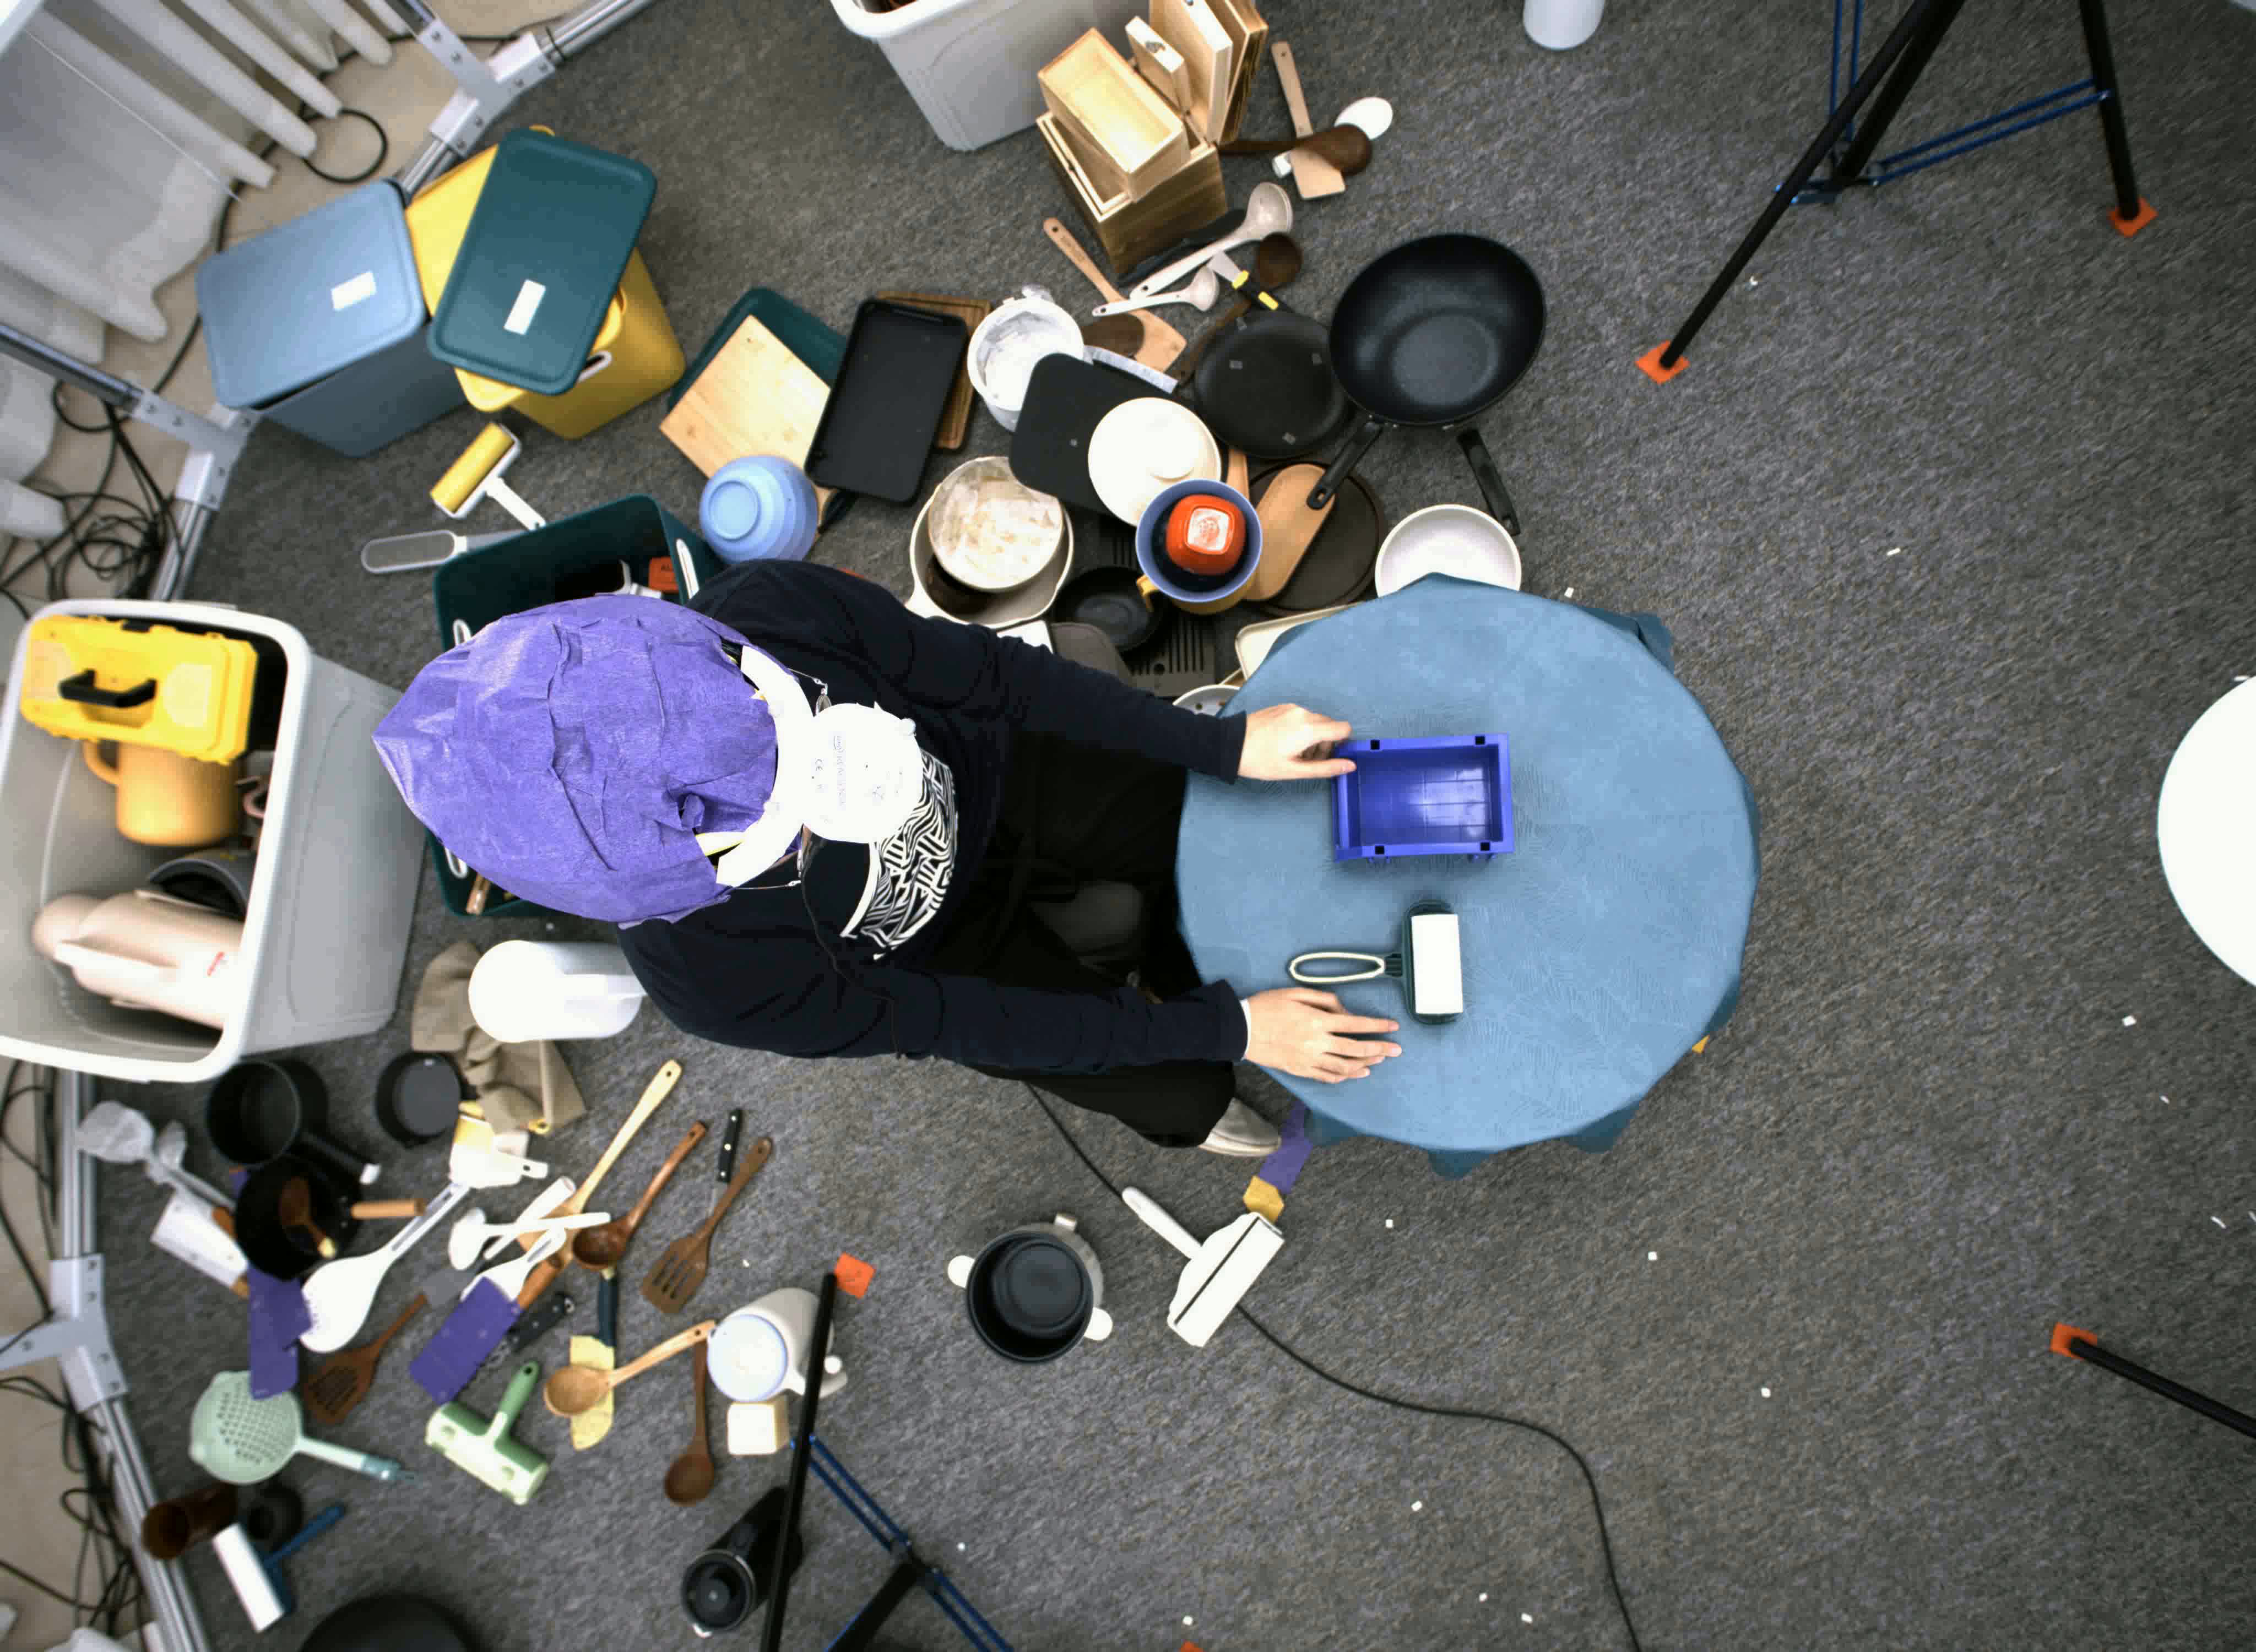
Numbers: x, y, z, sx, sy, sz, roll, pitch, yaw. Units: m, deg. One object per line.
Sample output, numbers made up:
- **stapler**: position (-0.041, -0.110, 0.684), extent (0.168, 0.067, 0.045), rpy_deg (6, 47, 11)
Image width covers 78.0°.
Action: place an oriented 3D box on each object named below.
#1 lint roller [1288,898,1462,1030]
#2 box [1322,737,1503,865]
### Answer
- **lint roller**: position (0.254, 0.145, 1.440), extent (0.181, 0.048, 0.134), rpy_deg (-3, 86, 15)
- **box**: position (0.290, -0.025, 1.420), extent (0.180, 0.082, 0.124), rpy_deg (0, 87, 8)
